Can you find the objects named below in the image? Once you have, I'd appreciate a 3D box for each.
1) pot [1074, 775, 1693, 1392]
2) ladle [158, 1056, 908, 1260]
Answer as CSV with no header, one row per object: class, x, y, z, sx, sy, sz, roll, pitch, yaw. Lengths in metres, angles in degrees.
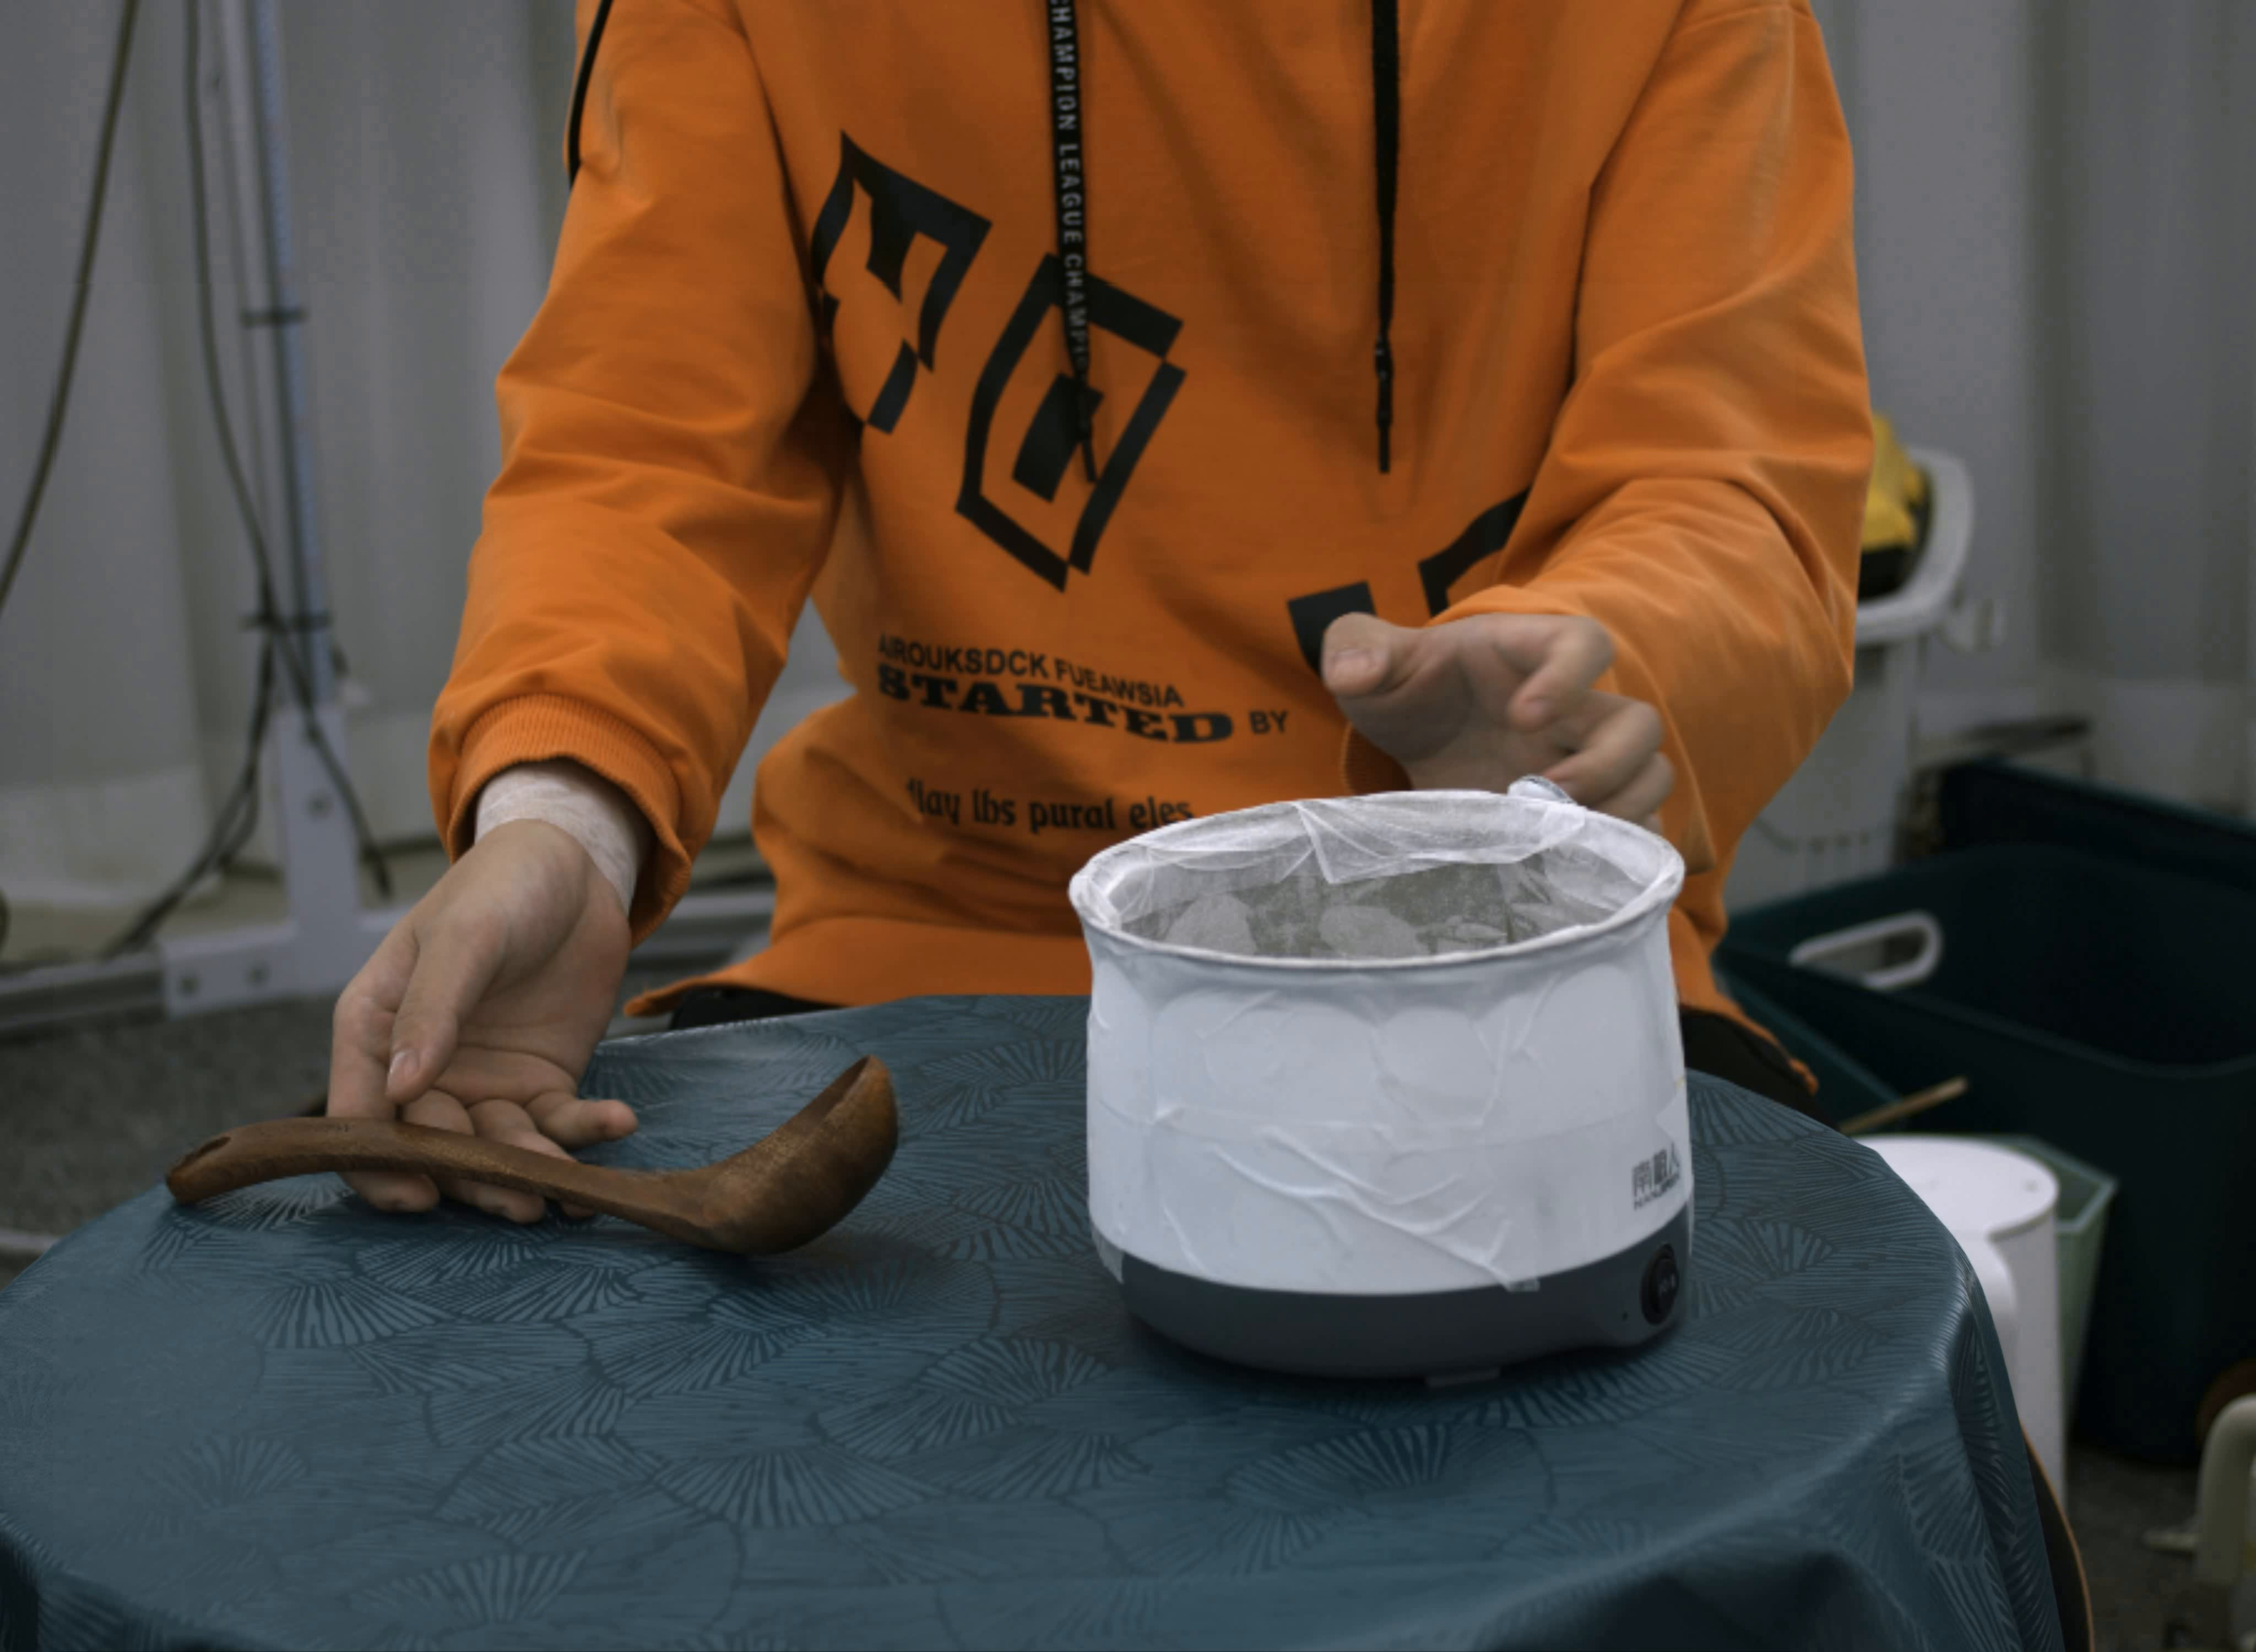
pot,0.088,0.068,1.608,0.179,0.136,0.234,6,17,29
ladle,-0.189,0.096,1.698,0.260,0.064,0.077,4,22,21
